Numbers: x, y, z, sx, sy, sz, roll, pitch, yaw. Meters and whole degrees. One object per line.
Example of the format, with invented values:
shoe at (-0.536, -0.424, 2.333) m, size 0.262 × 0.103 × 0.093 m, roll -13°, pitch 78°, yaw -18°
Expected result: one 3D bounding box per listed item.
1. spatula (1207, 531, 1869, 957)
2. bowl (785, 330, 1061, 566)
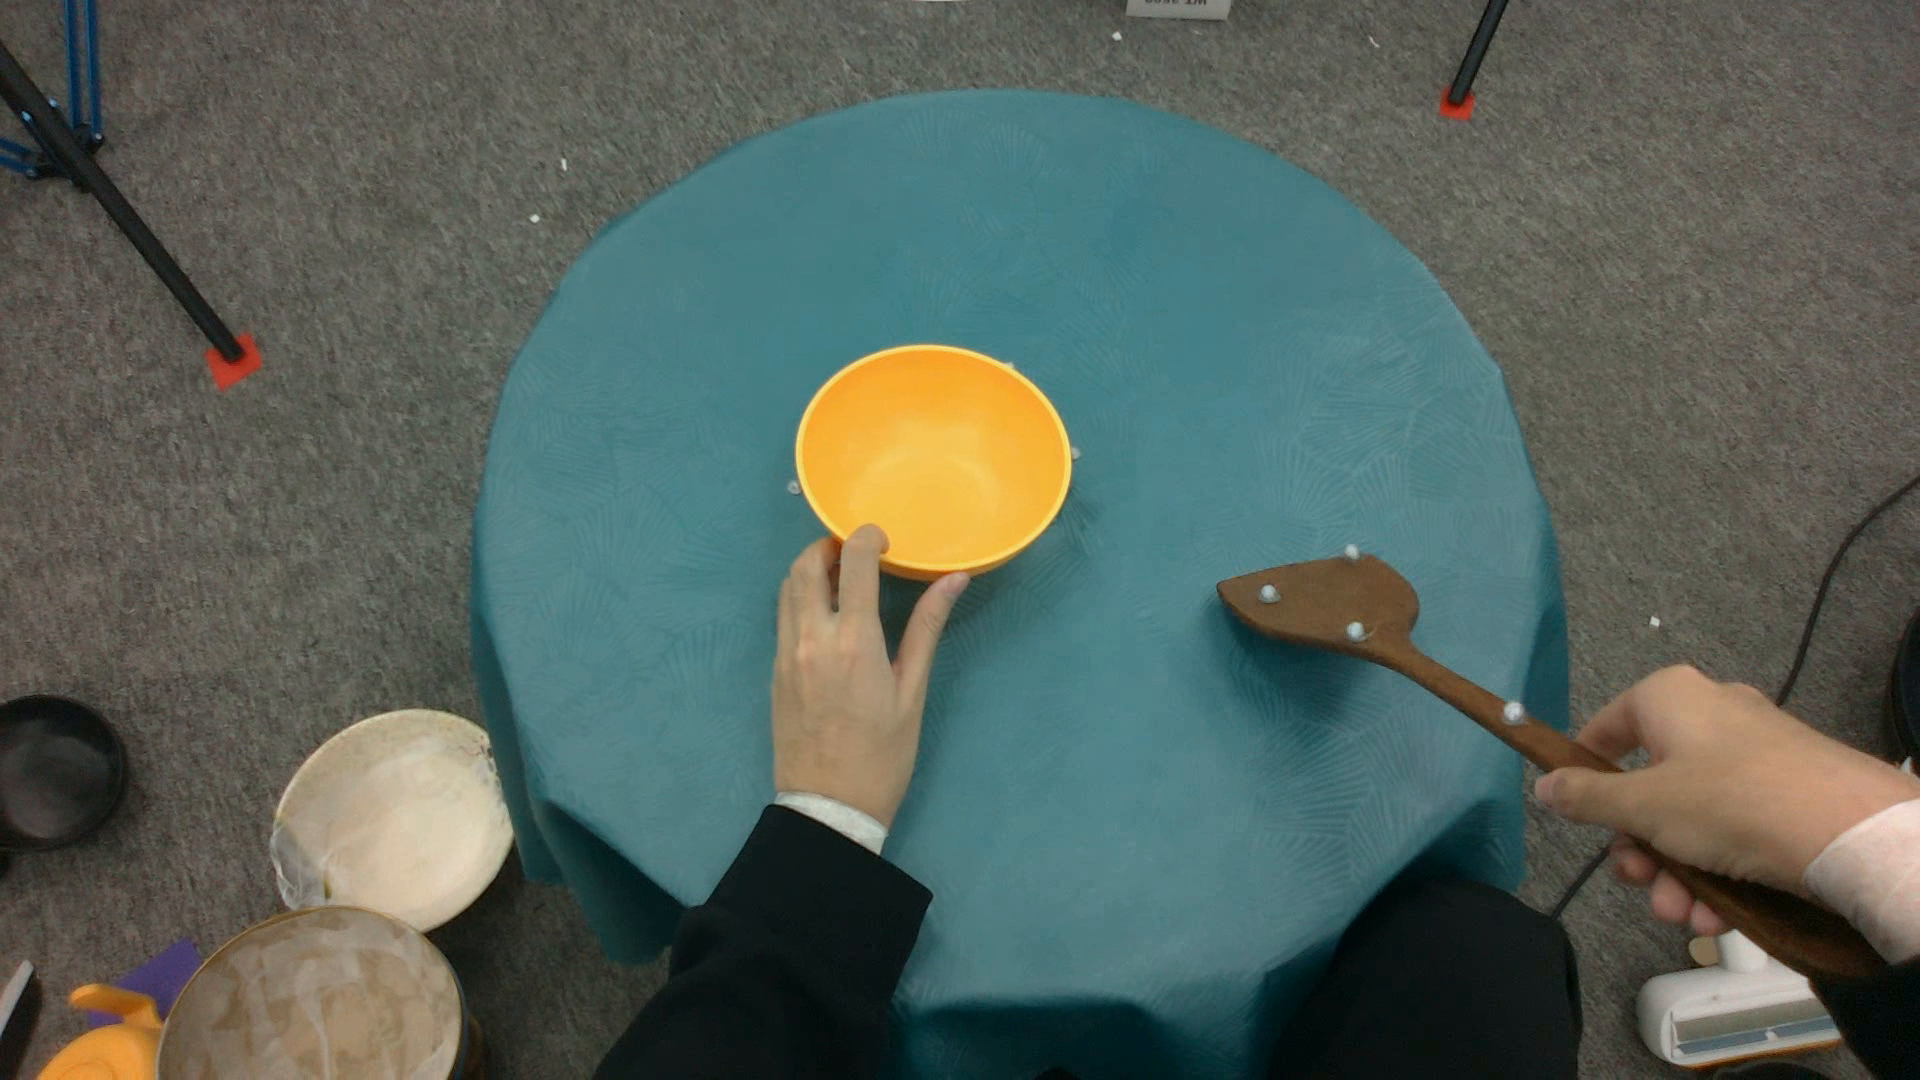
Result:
spatula at (0.218, 0.062, 0.582) m, size 0.096 × 0.016 × 0.386 m, roll -12°, pitch 19°, yaw -10°
bowl at (-0.020, -0.040, 0.744) m, size 0.145 × 0.060 × 0.146 m, roll 2°, pitch 60°, yaw -3°
